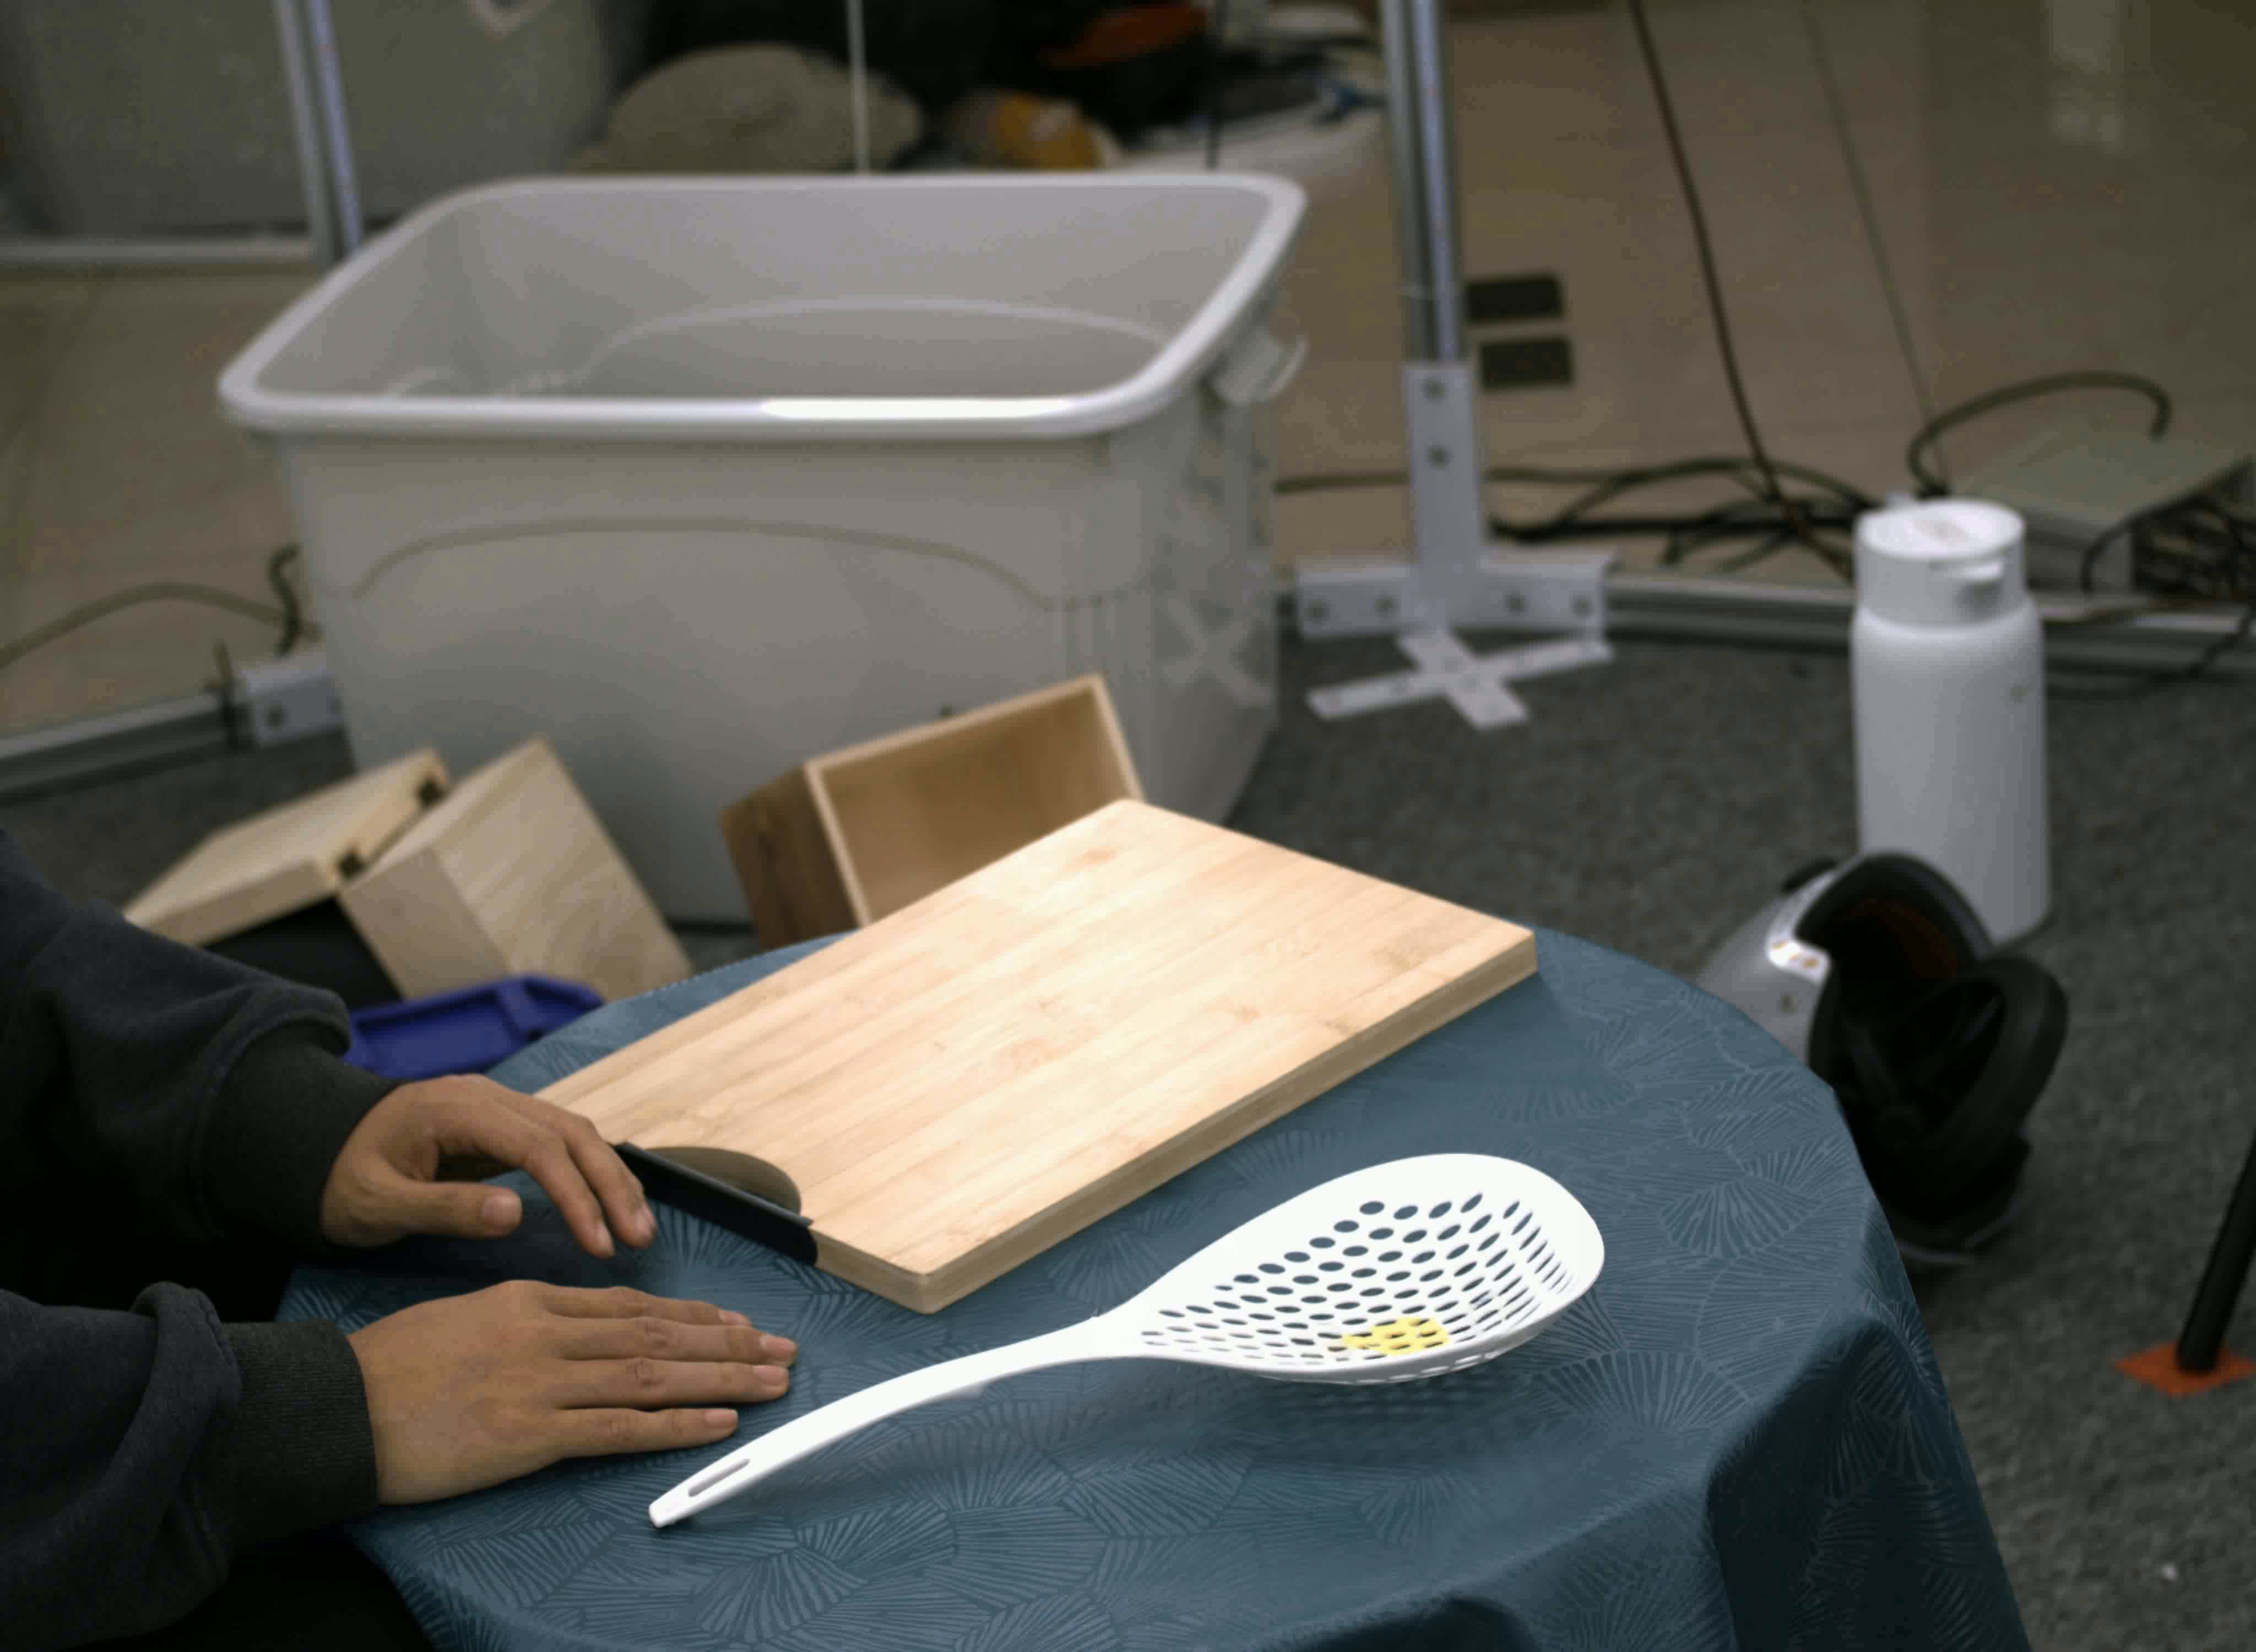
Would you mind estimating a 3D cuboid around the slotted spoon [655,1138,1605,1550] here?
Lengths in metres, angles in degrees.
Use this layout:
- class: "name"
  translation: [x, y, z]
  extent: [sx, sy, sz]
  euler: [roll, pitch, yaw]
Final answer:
- class: "slotted spoon"
  translation: [-0.001, 0.188, 1.991]
  extent: [0.347, 0.051, 0.135]
  euler: [-12, 28, -12]

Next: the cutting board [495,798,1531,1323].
- class: "cutting board"
  translation: [-0.041, 0.086, 2.252]
  extent: [0.249, 0.024, 0.345]
  euler: [18, 34, 42]
